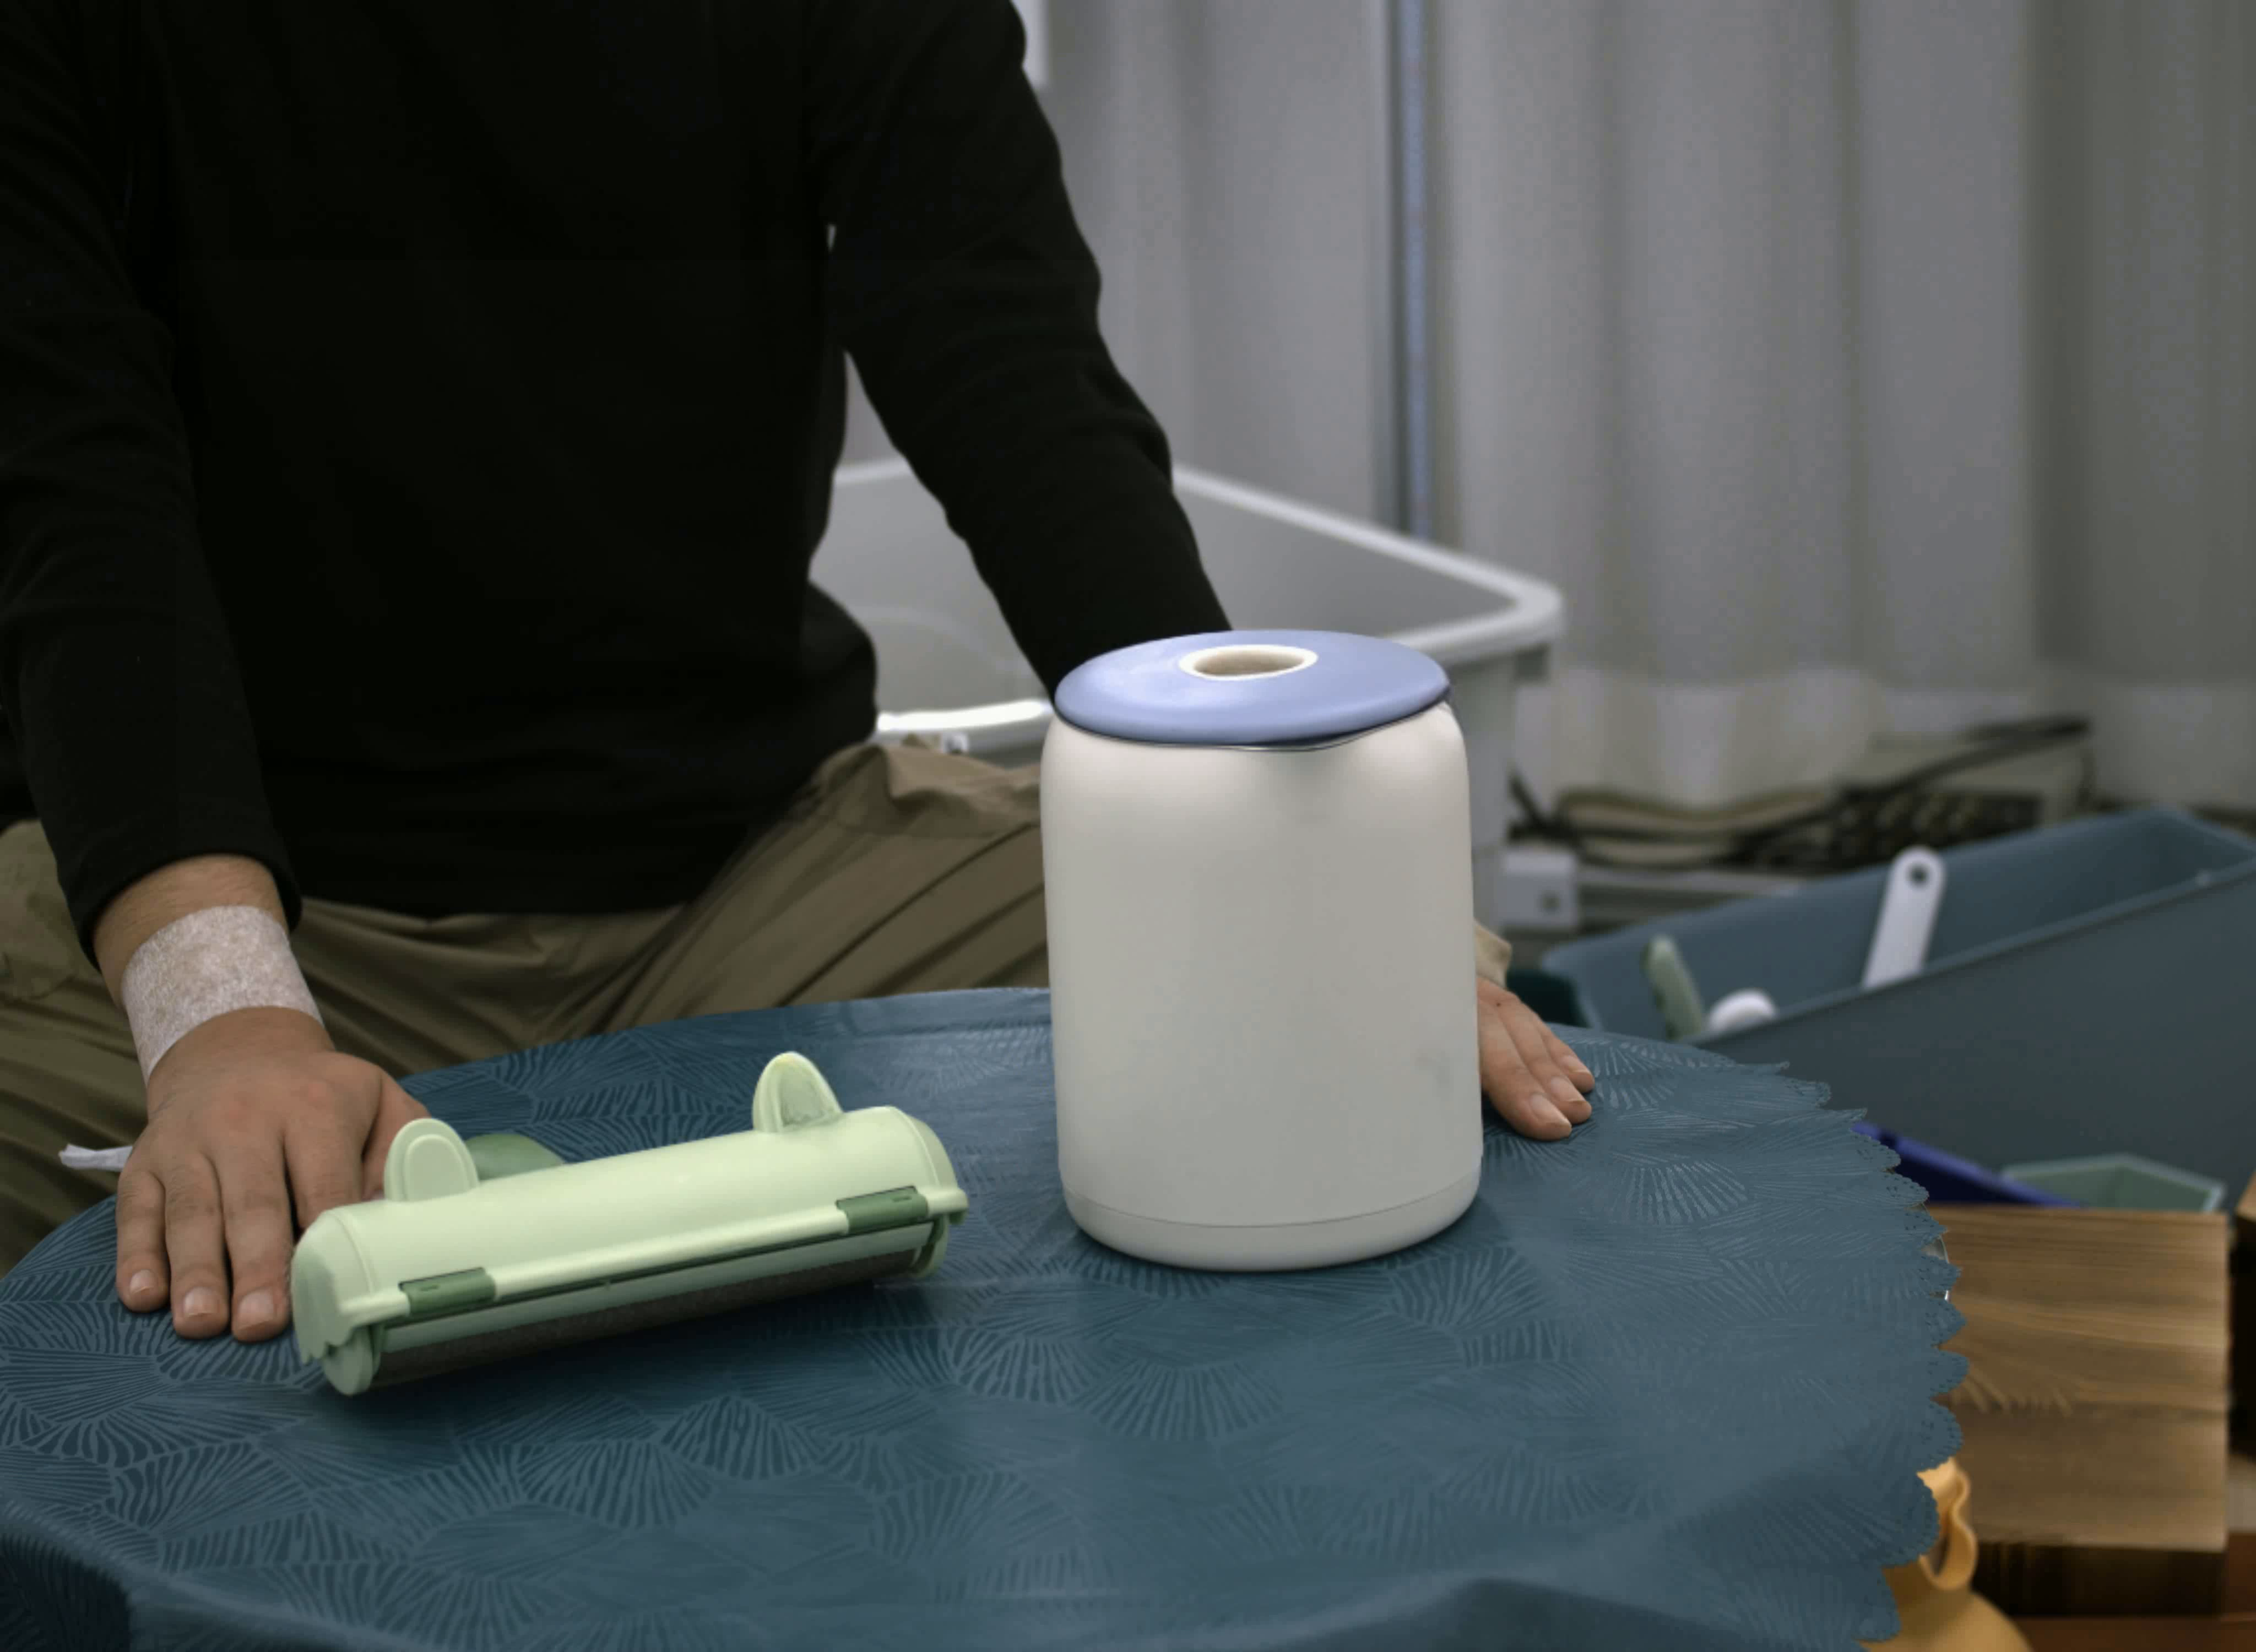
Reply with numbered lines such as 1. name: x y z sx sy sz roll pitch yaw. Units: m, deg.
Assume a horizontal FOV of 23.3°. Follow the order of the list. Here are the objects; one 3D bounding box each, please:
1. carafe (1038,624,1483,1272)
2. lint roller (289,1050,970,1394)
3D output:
1. carafe: 0.034 0.031 1.692 0.131 0.182 0.192 -6 12 -15
2. lint roller: -0.170 0.103 1.644 0.198 0.082 0.185 -9 18 -26
